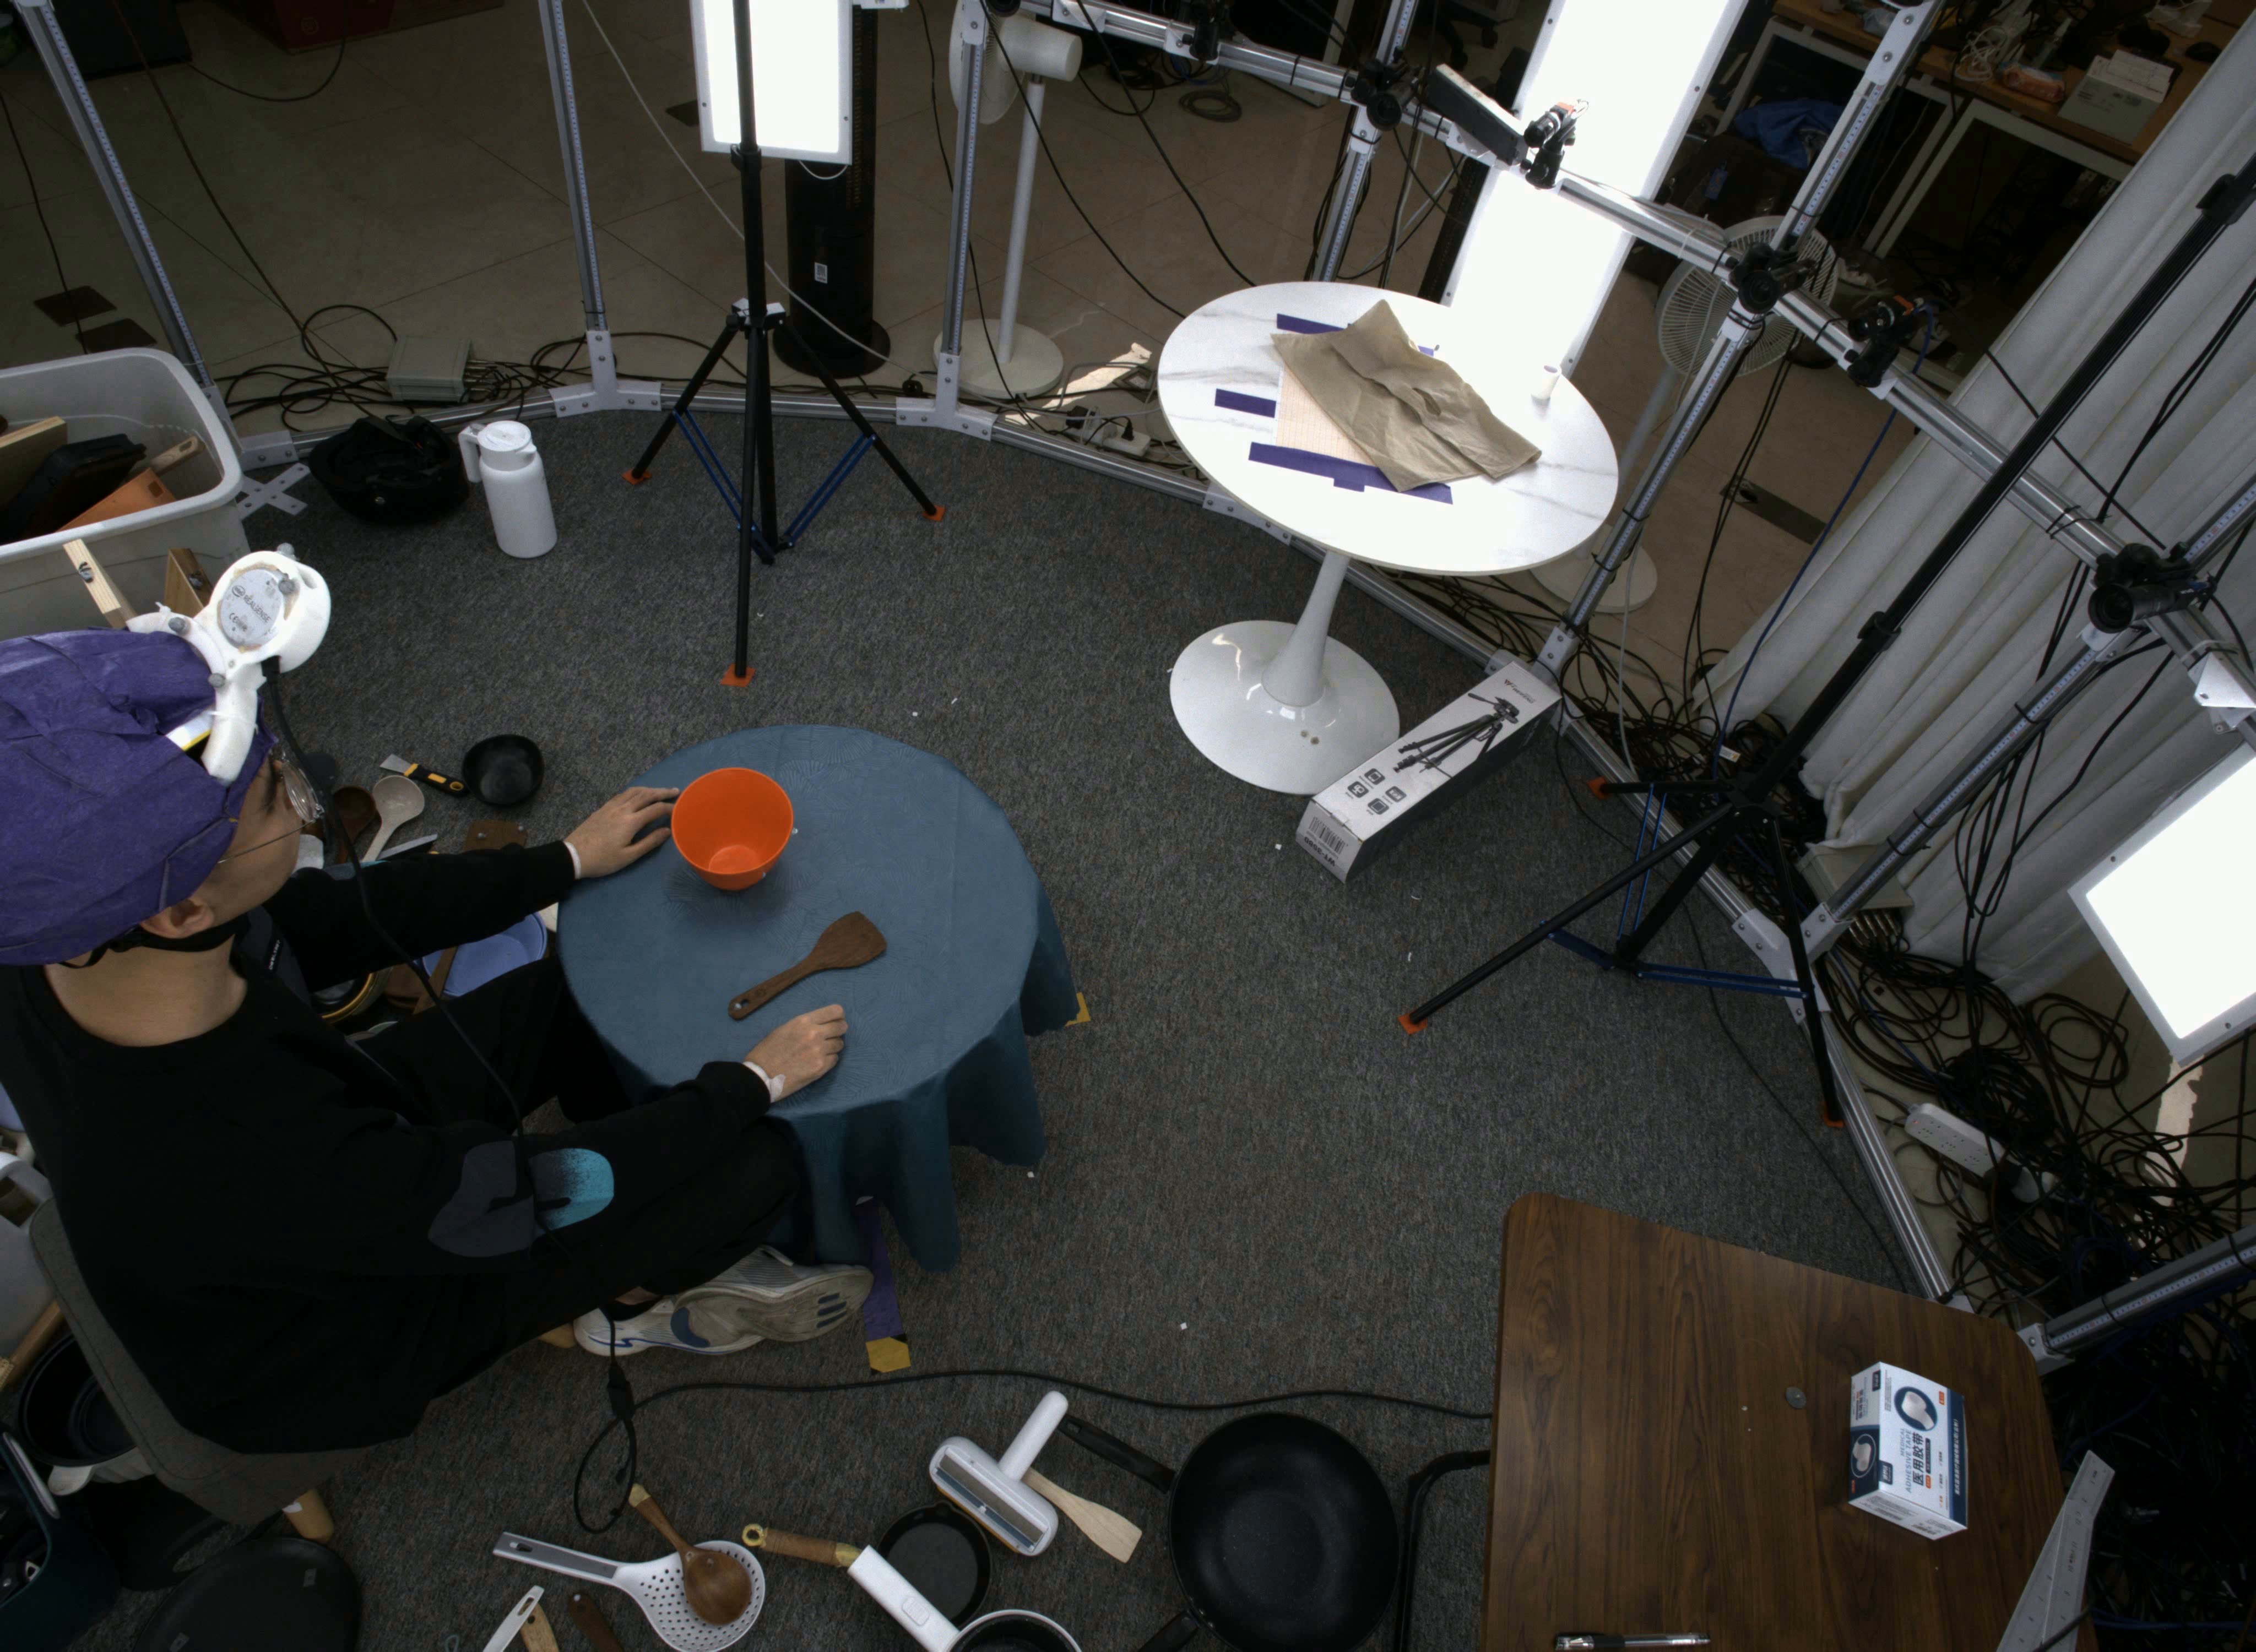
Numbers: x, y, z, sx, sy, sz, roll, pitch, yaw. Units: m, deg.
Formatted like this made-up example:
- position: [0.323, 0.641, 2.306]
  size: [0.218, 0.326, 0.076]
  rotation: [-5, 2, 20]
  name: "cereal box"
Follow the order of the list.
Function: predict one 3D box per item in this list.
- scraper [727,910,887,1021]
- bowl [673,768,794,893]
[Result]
- position: [-0.399, 0.175, 1.600]
  size: [0.212, 0.011, 0.074]
  rotation: [-32, 66, -31]
  name: "scraper"
- position: [-0.496, 0.016, 1.634]
  size: [0.148, 0.107, 0.145]
  rotation: [7, 54, -8]
  name: "bowl"
